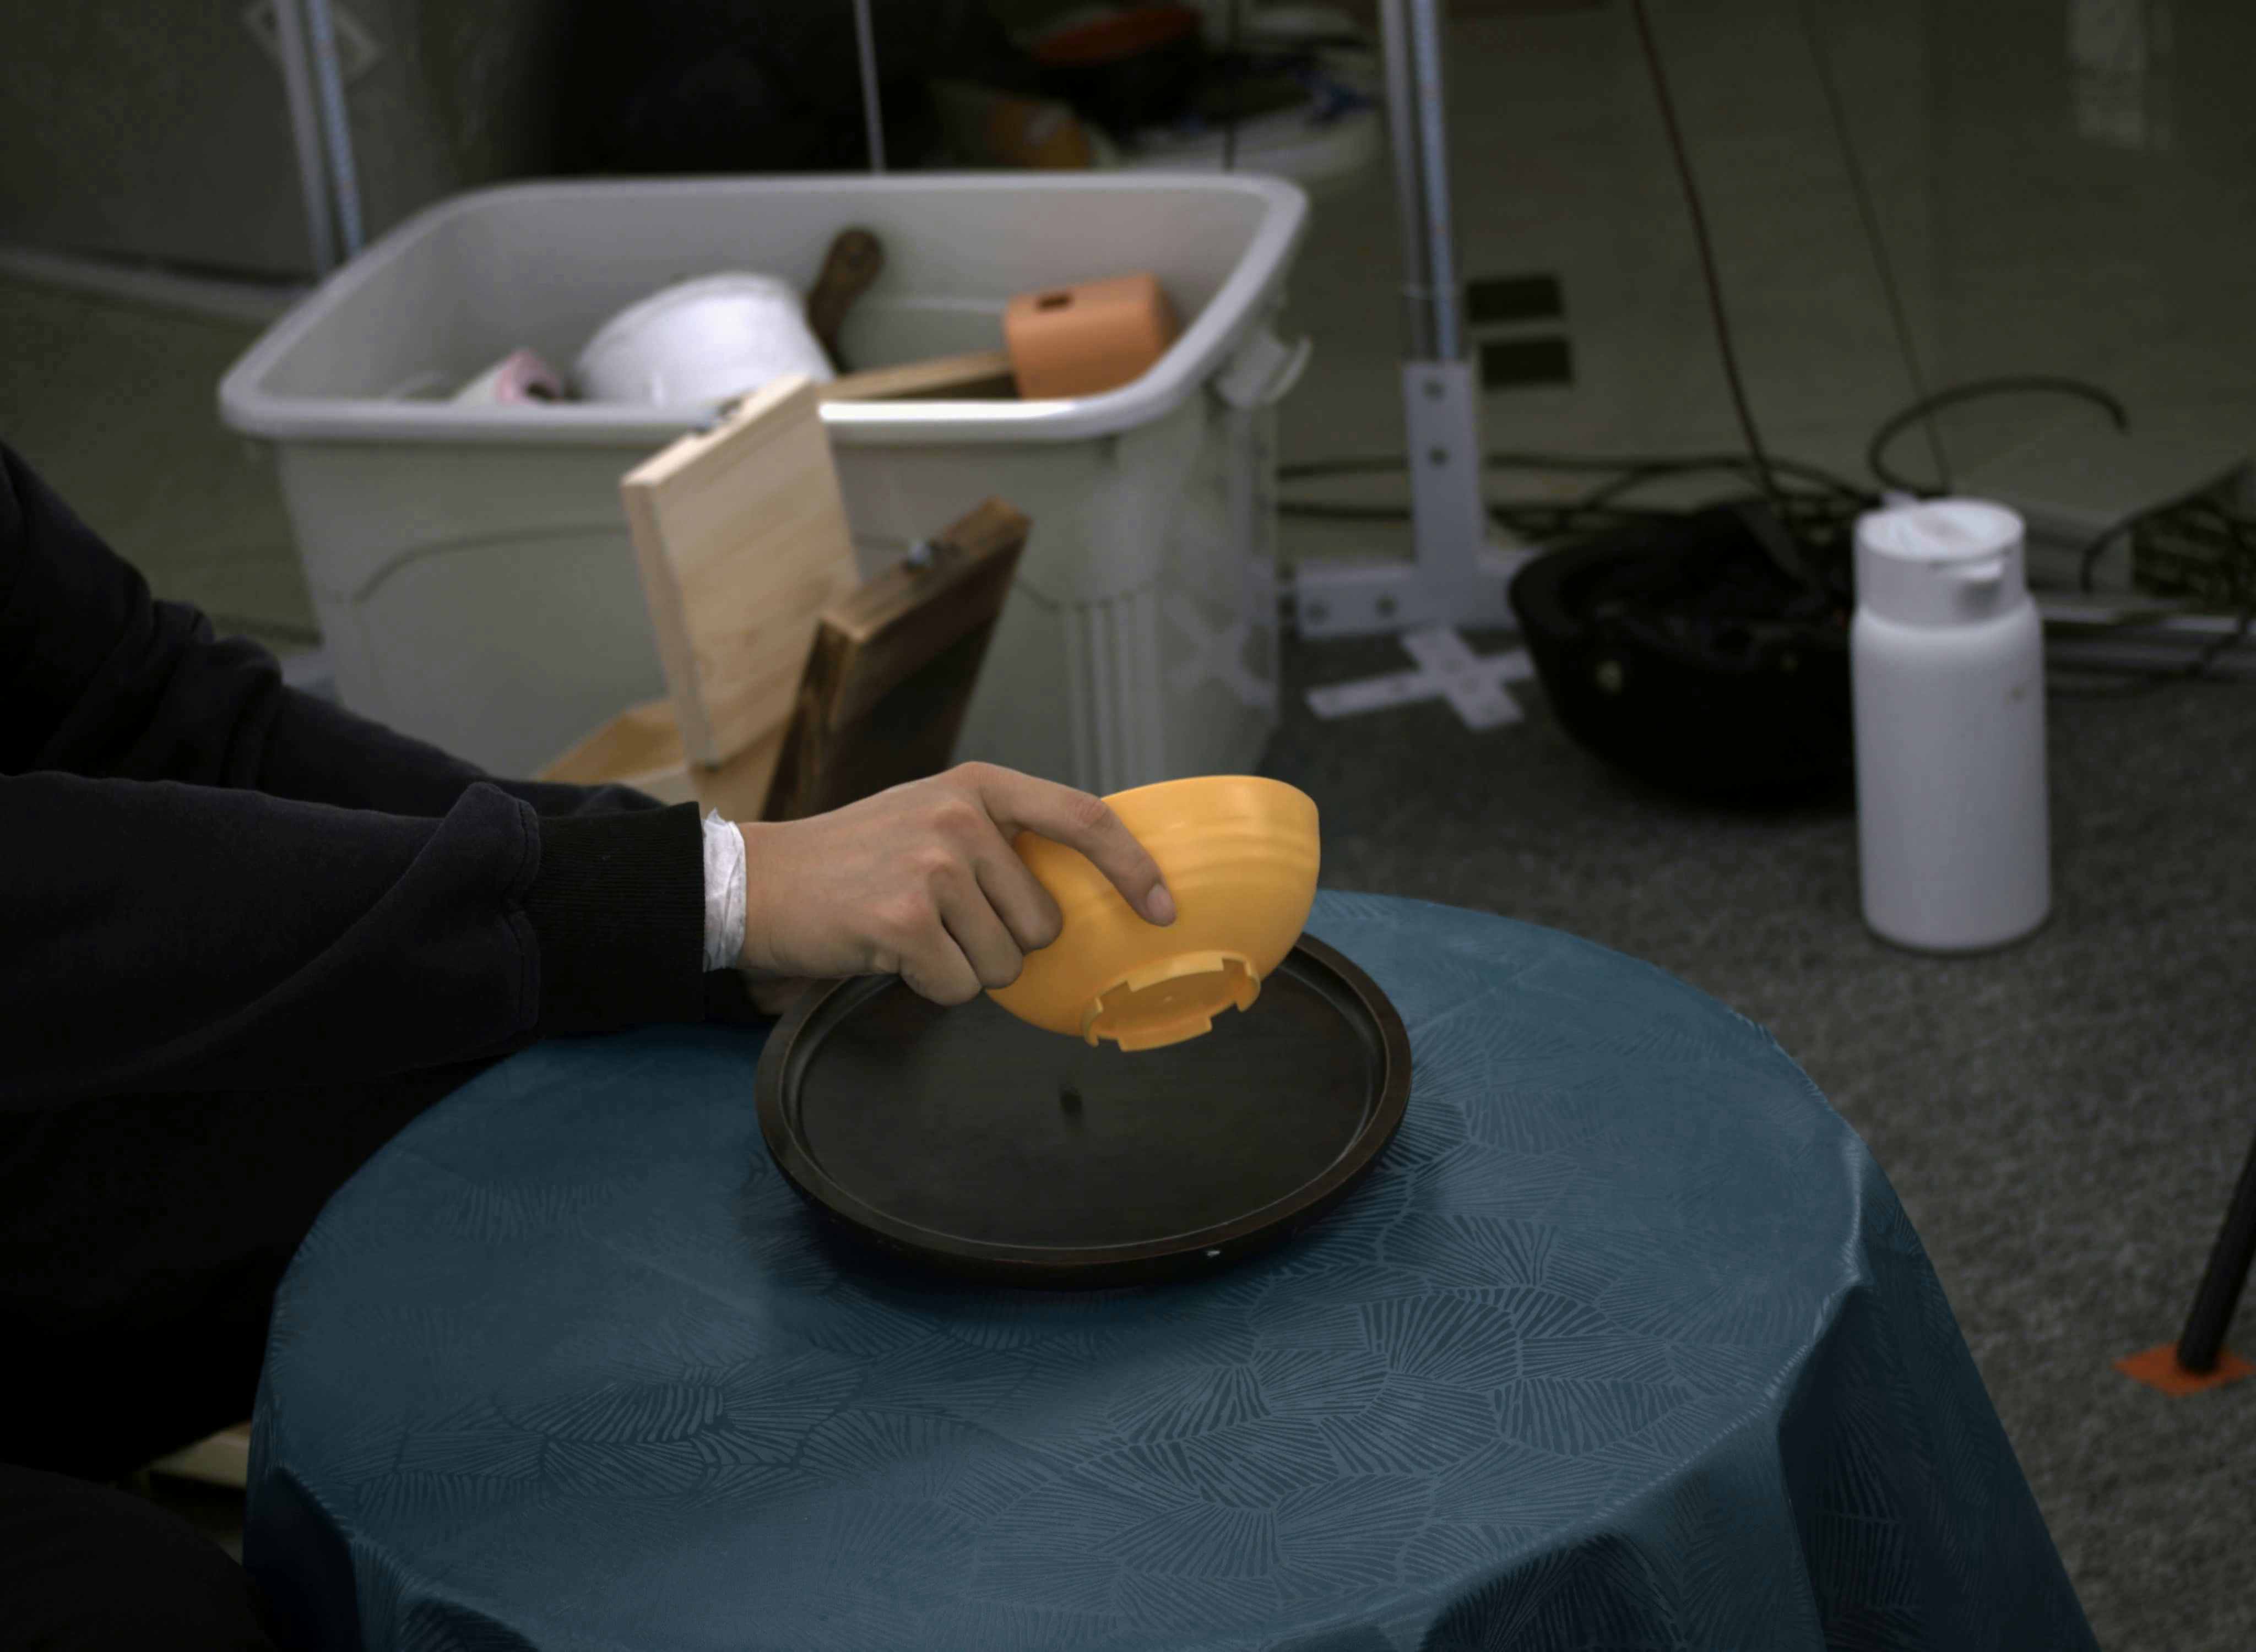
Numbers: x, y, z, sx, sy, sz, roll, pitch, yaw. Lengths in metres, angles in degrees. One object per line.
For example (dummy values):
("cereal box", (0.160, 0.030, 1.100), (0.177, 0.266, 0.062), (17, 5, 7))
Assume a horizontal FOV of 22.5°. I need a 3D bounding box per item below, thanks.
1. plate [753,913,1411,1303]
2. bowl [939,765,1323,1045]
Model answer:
("plate", (-0.017, 0.102, 2.173), (0.254, 0.029, 0.250), (-2, 34, 2))
("bowl", (0.008, 0.038, 2.046), (0.145, 0.147, 0.059), (-11, 66, -11))
